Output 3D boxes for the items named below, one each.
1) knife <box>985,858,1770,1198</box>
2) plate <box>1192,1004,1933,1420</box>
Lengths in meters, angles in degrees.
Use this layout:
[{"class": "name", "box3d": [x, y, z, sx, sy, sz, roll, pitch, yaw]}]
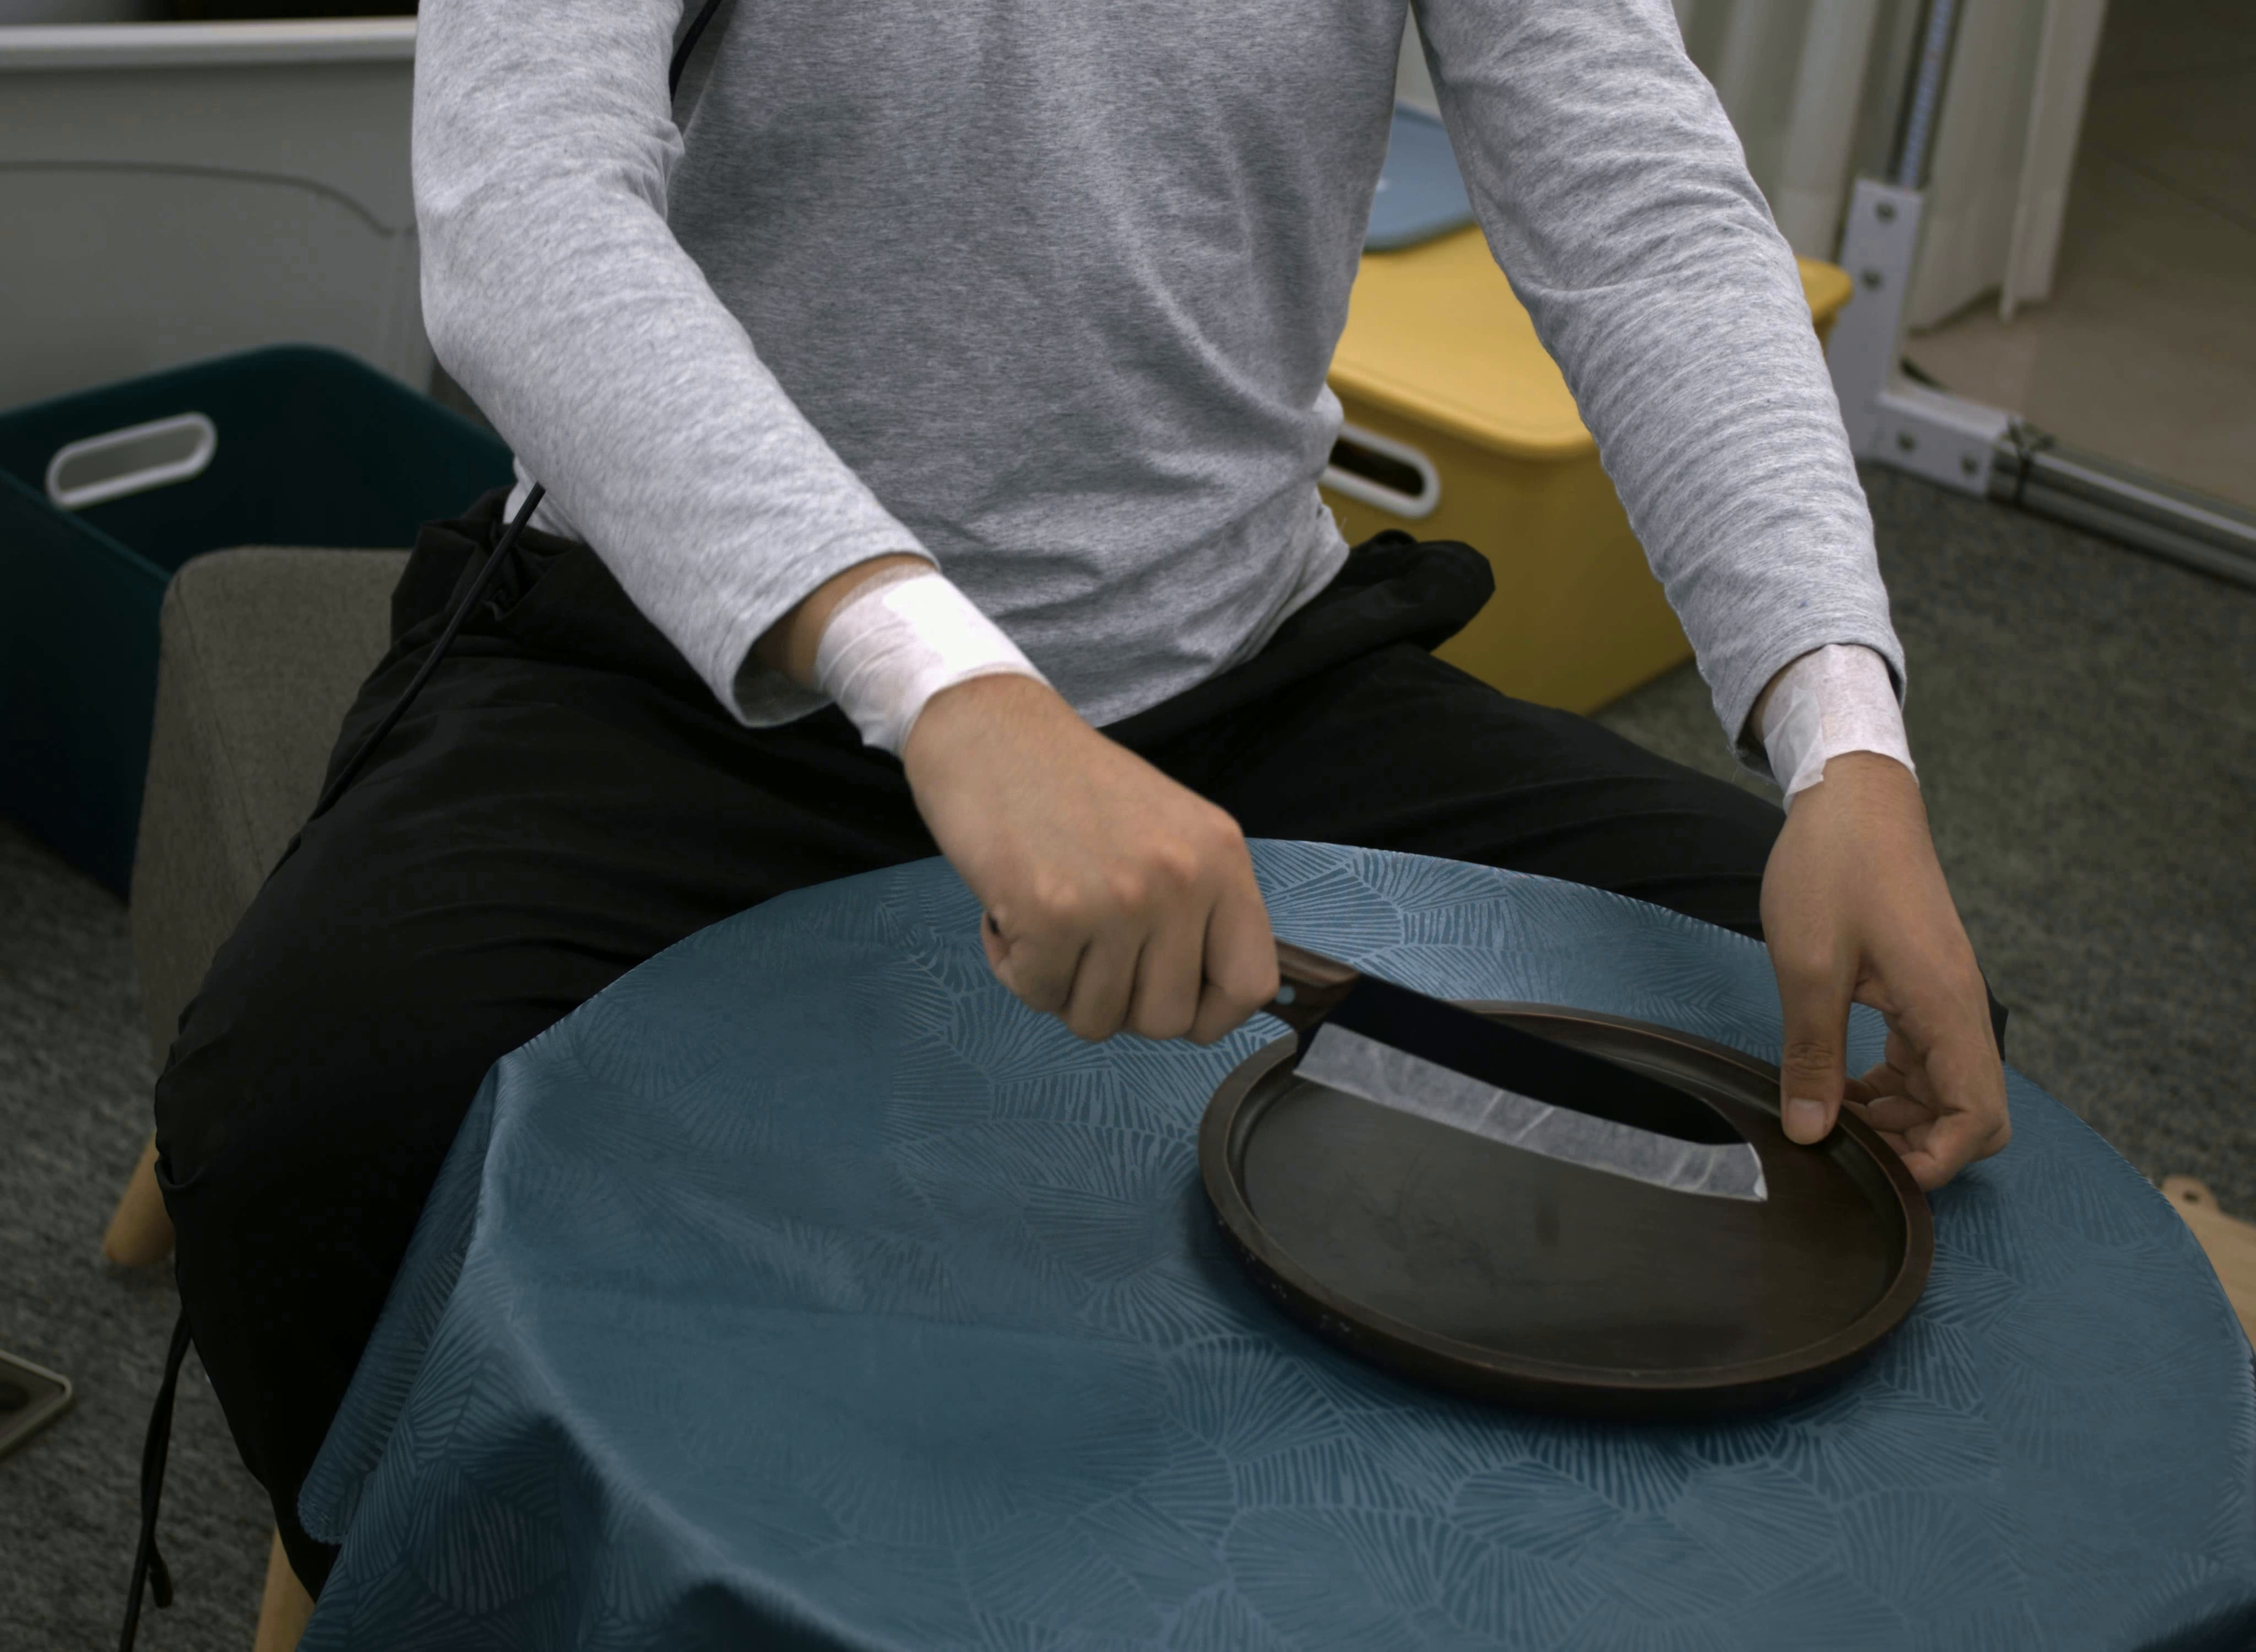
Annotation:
[{"class": "knife", "box3d": [0.083, 0.068, 1.724, 0.287, 0.050, 0.020, 21, 29, -13]}, {"class": "plate", "box3d": [0.146, 0.128, 1.802, 0.254, 0.029, 0.256, 3, 26, -2]}]
